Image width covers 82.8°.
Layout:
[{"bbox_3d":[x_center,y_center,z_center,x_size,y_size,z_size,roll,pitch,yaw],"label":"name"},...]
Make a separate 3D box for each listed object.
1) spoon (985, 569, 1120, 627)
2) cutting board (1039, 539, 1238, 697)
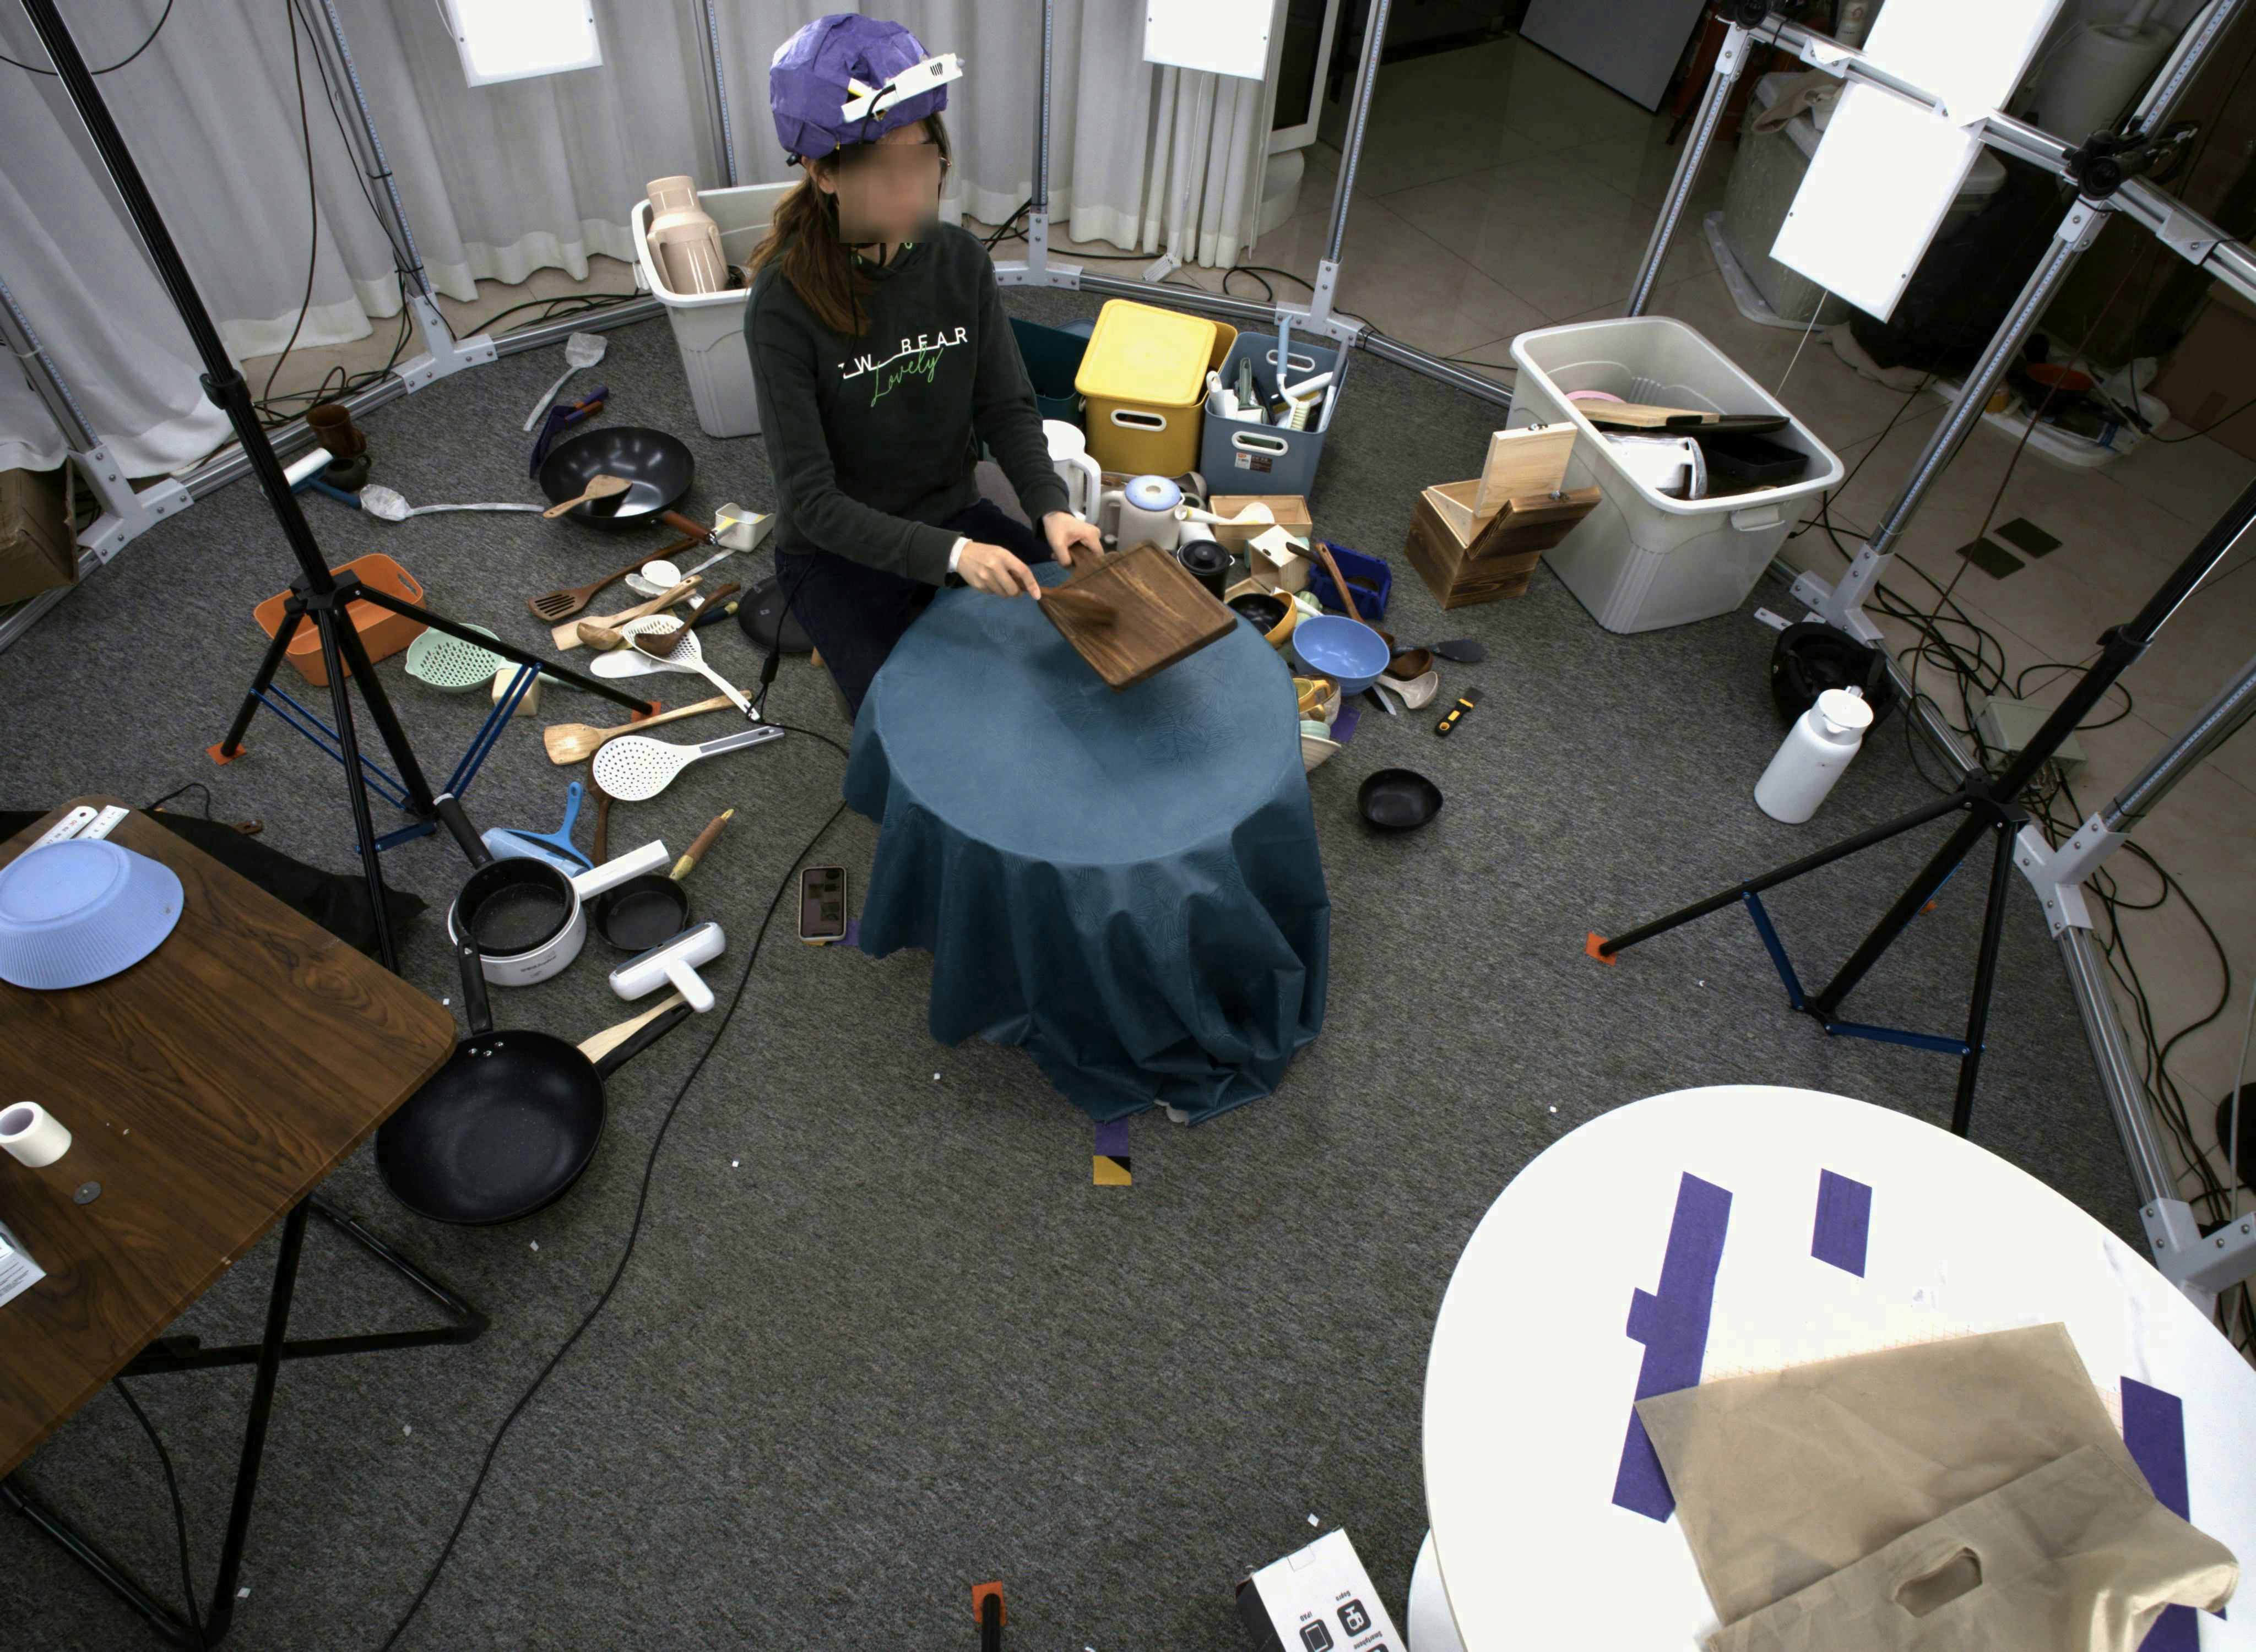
[{"bbox_3d":[-0.107,-0.317,1.789,0.218,0.074,0.017,23,83,22],"label":"spoon"},{"bbox_3d":[-0.012,-0.324,1.833,0.201,0.022,0.360,-30,45,-8],"label":"cutting board"}]
